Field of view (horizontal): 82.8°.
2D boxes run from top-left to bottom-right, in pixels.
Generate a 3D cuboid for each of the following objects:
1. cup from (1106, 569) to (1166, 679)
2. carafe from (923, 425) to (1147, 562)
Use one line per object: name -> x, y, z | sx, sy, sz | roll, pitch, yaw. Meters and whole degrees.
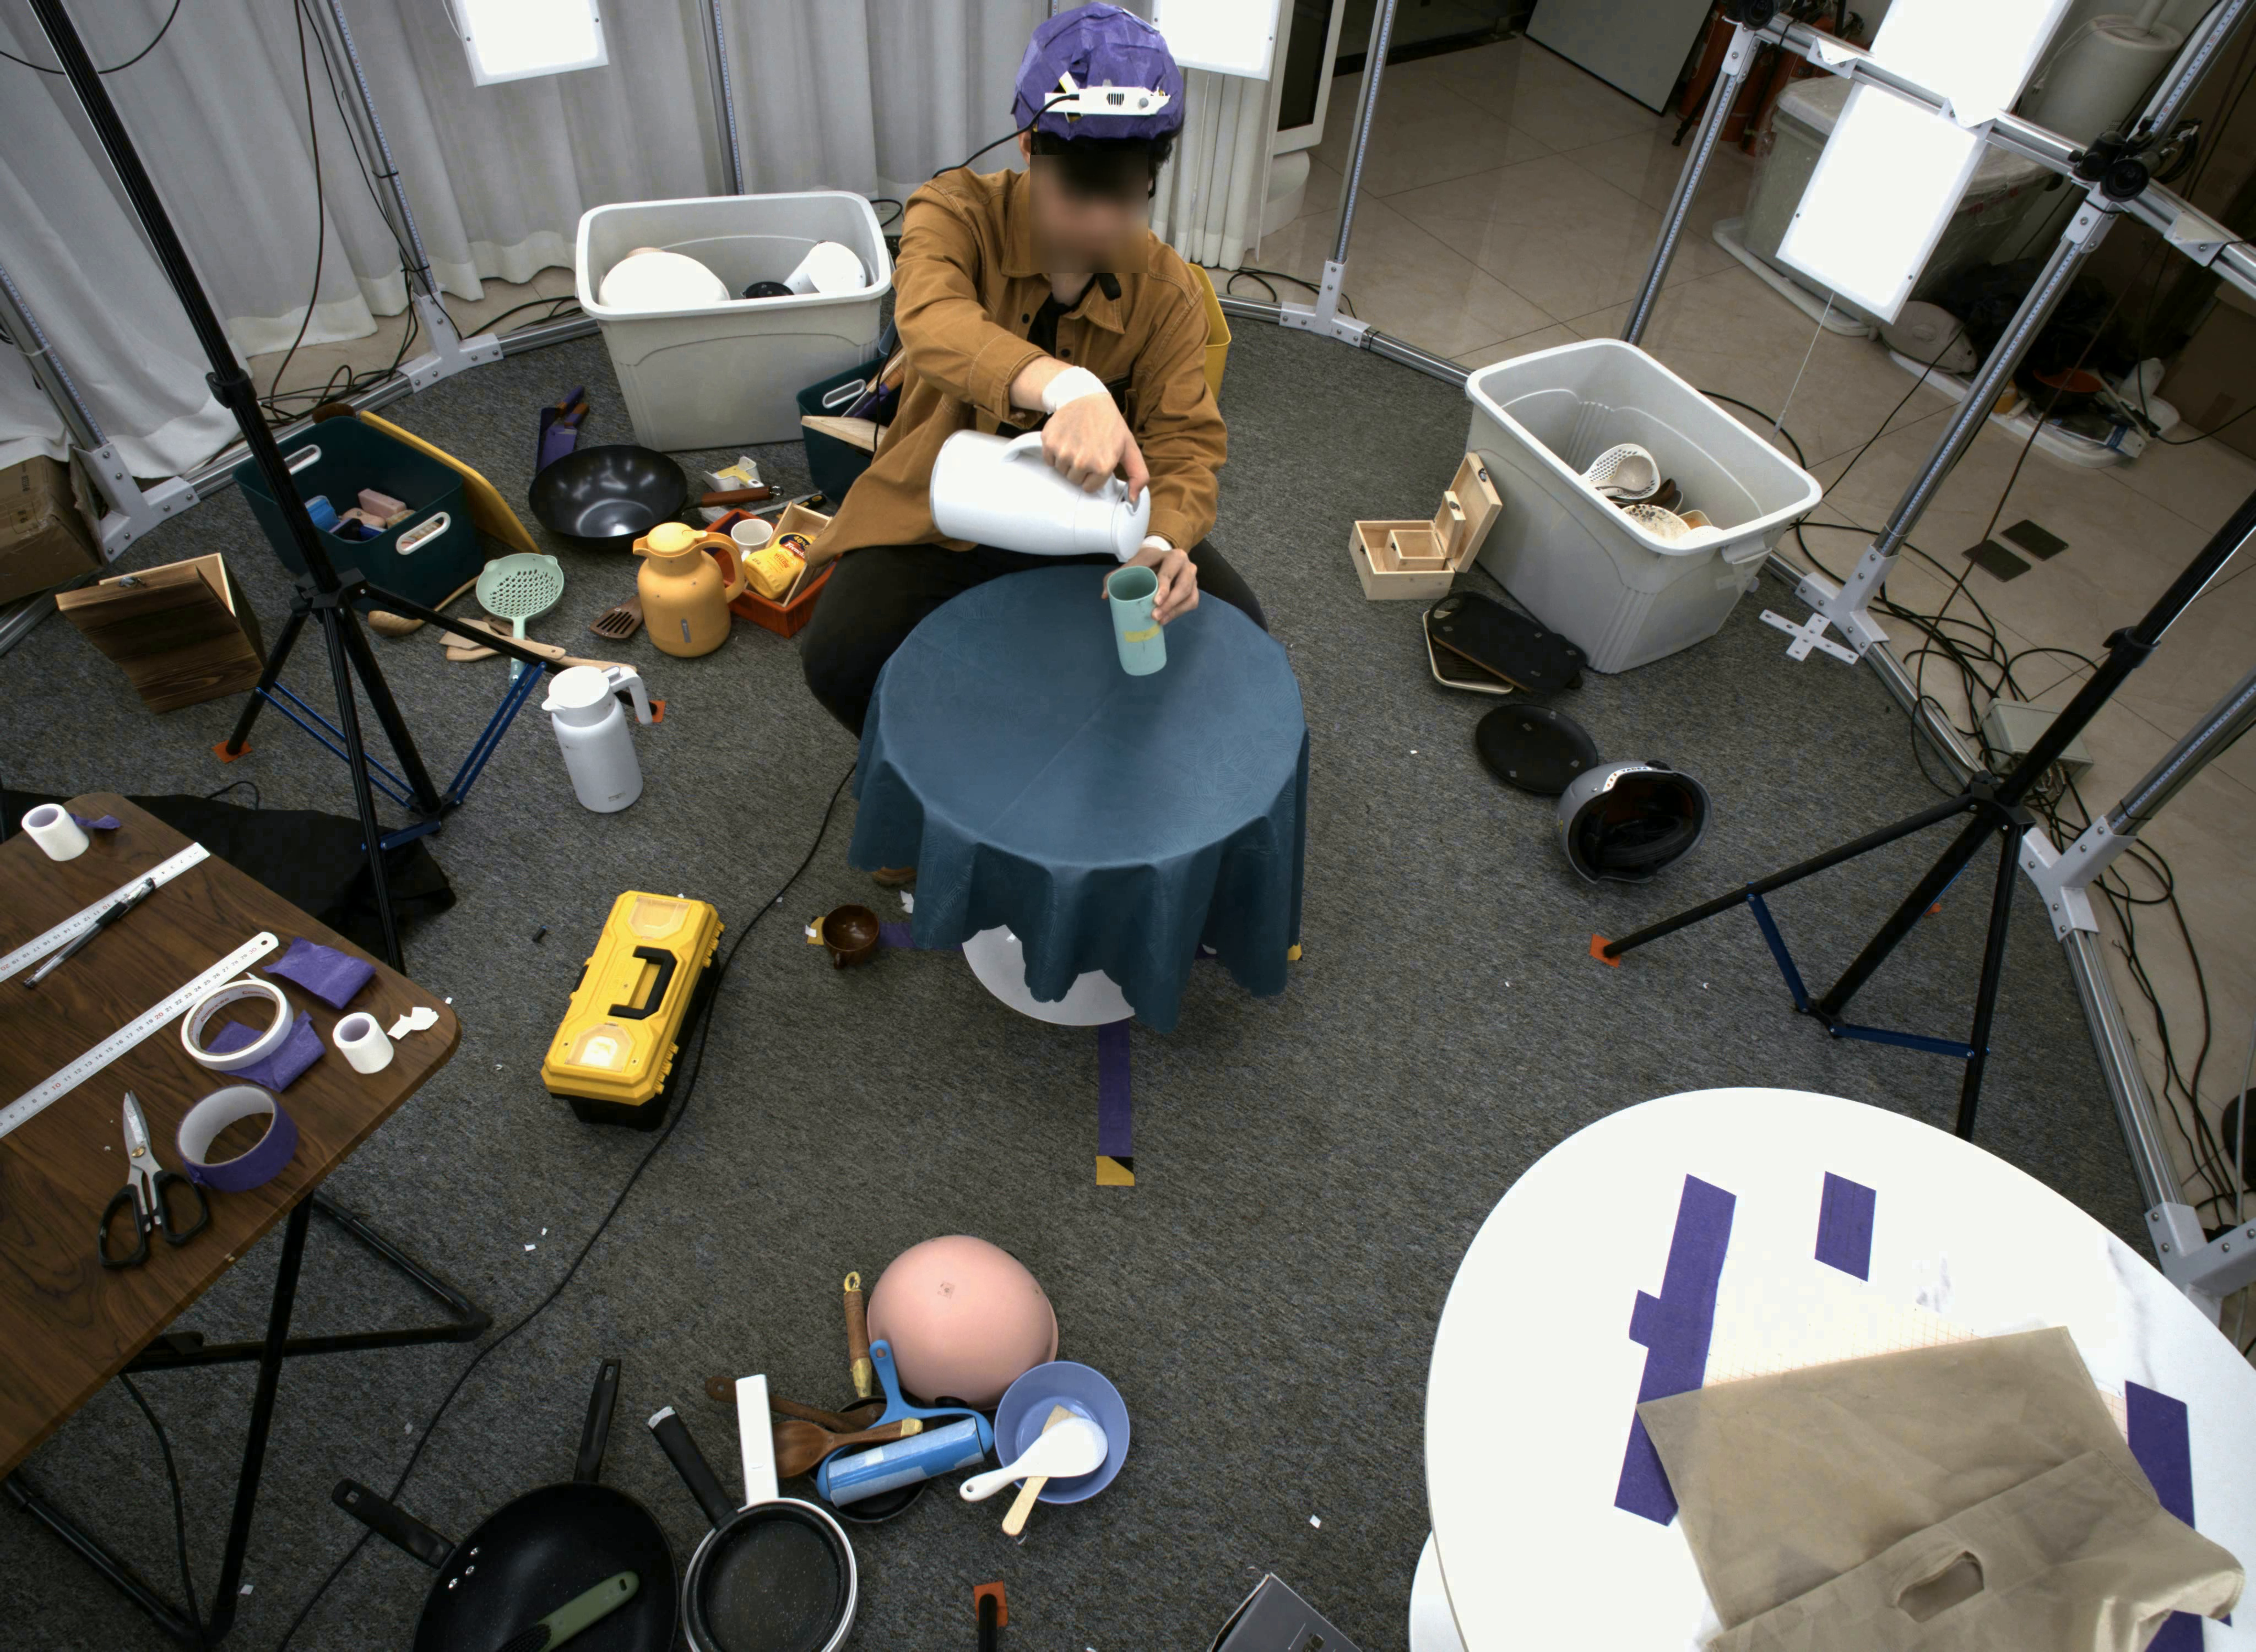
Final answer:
cup -> 0.011, -0.256, 1.626 | 0.067, 0.129, 0.068 | -4, 51, 5
carafe -> -0.105, -0.395, 1.519 | 0.250, 0.164, 0.135 | 17, 60, 20
